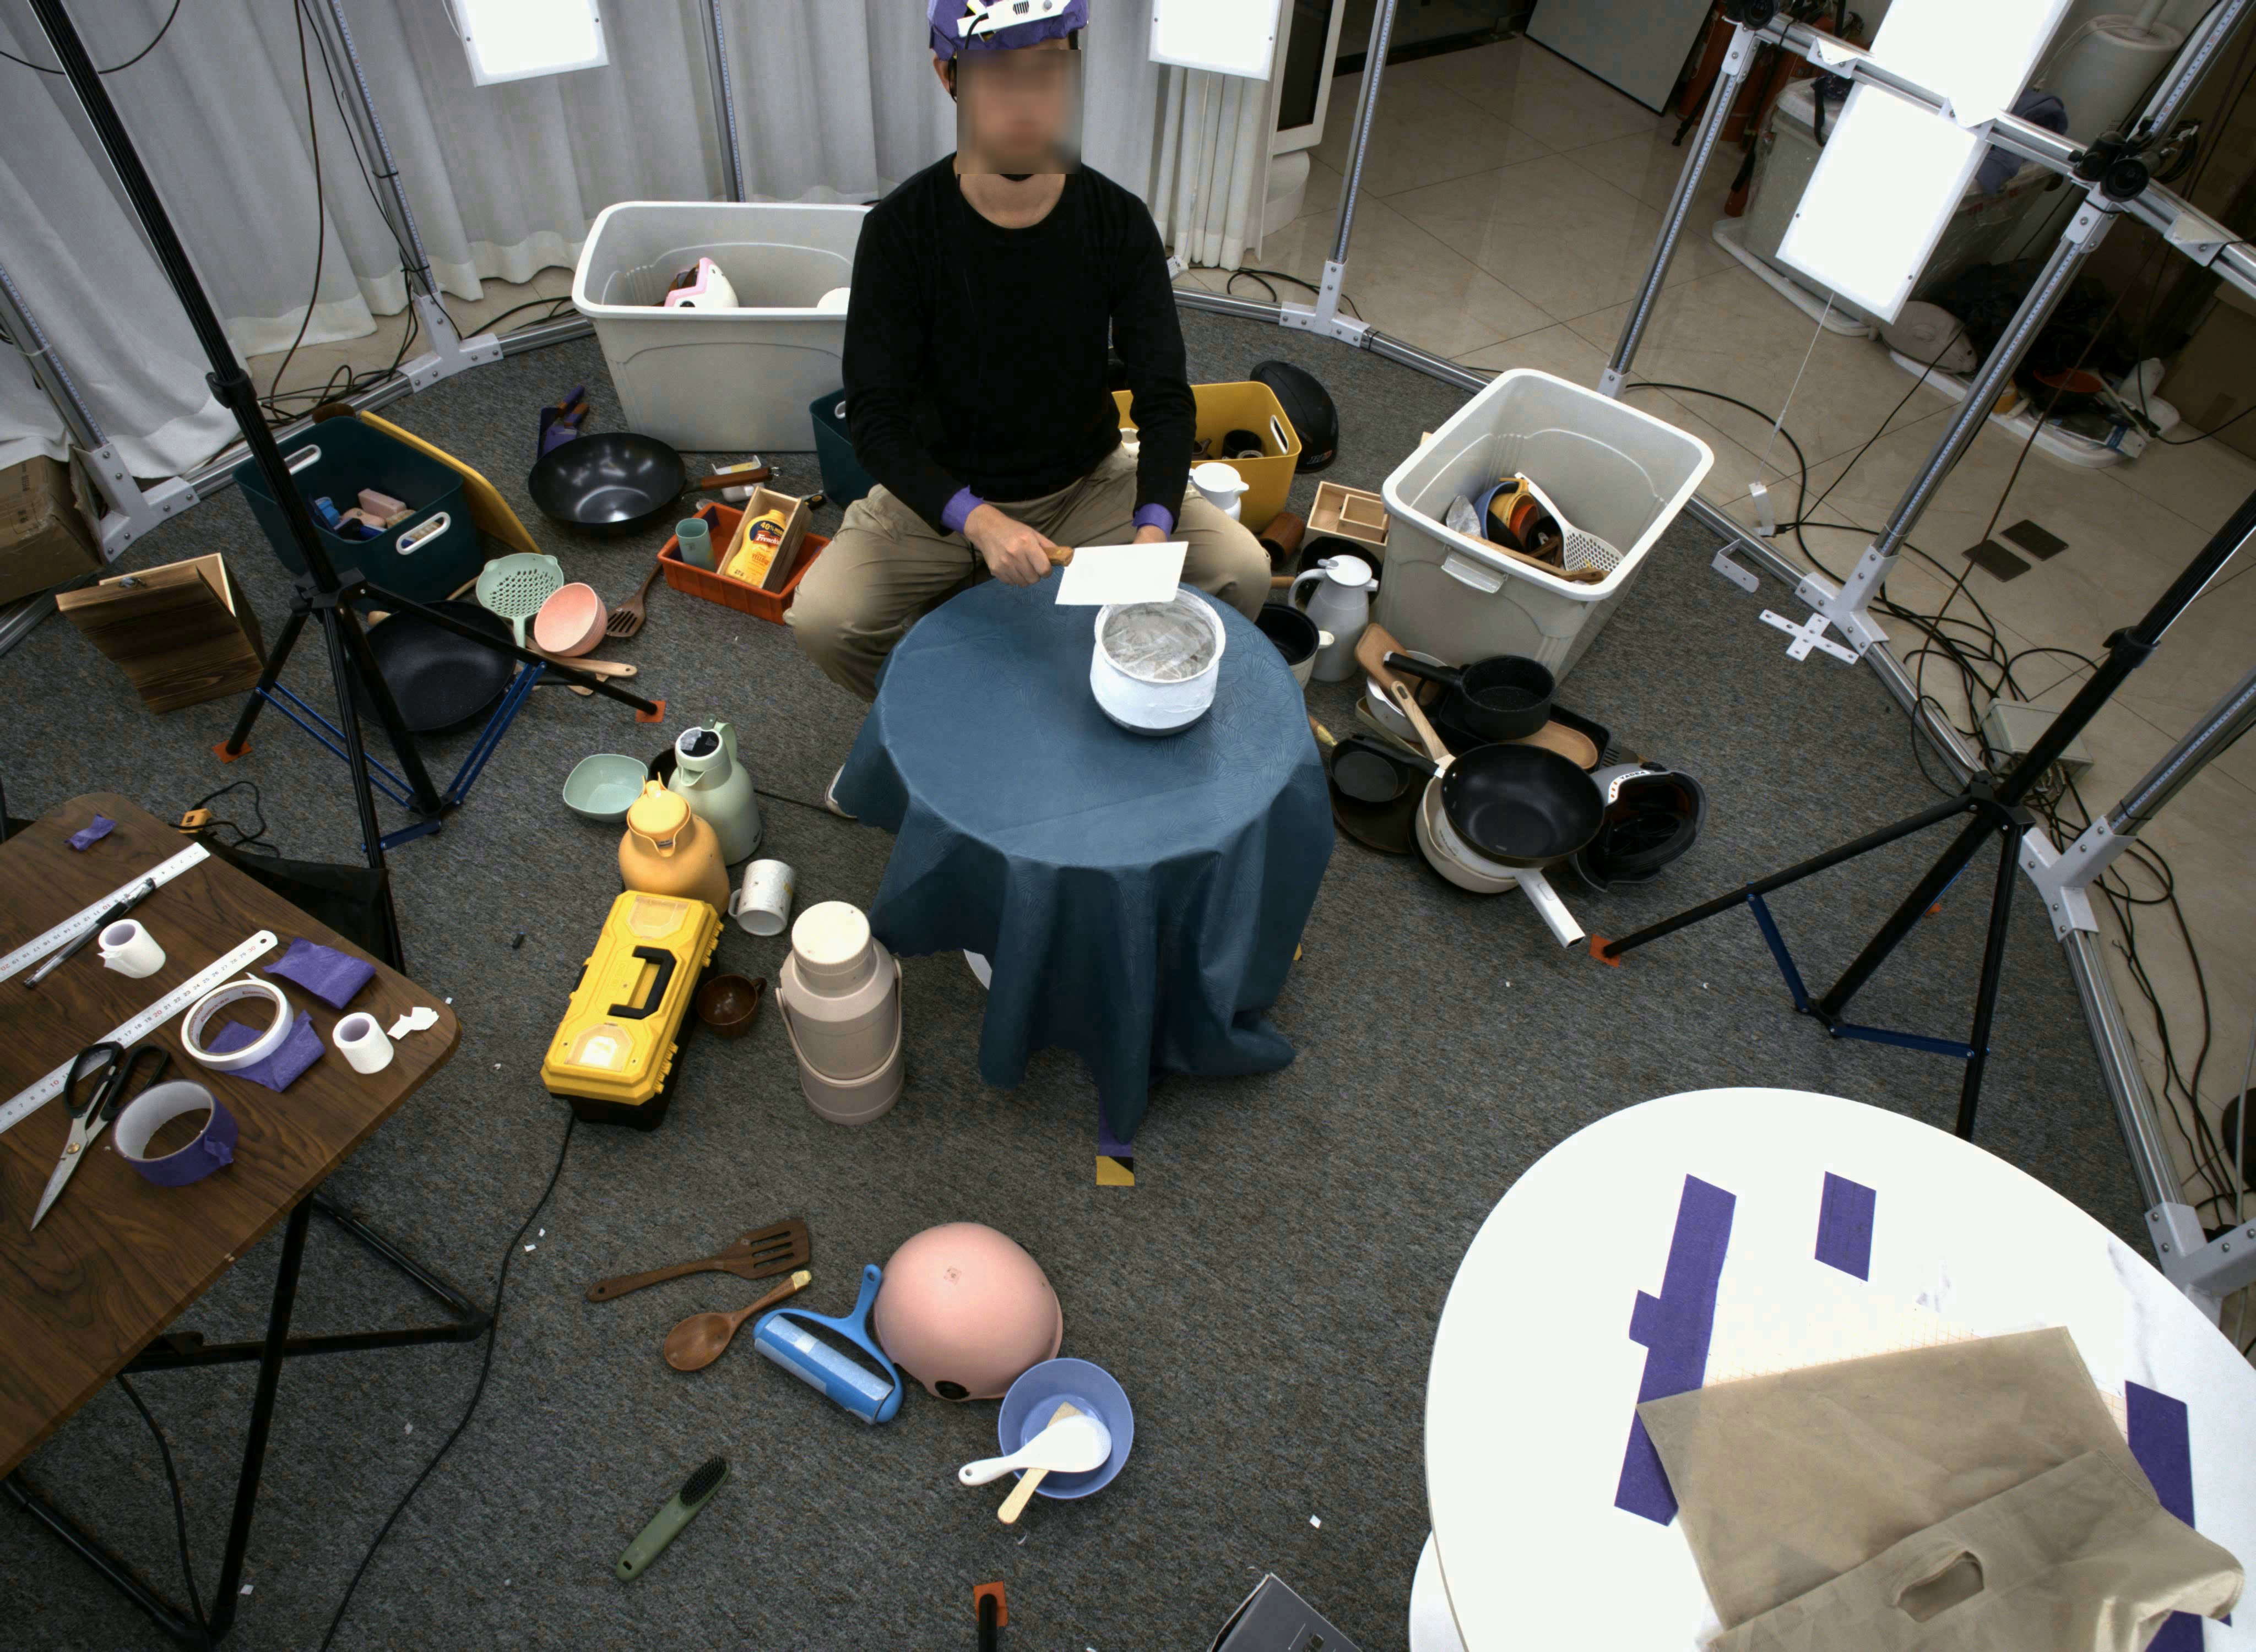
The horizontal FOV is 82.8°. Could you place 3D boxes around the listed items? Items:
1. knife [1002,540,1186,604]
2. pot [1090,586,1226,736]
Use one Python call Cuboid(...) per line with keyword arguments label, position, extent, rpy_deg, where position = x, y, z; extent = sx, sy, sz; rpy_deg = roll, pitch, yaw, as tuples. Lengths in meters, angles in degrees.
Cuboid(label="knife", position=(-0.057, -0.350, 1.786), extent=(0.307, 0.020, 0.094), rpy_deg=(4, 67, 33))
Cuboid(label="pot", position=(0.032, -0.247, 1.786), extent=(0.178, 0.133, 0.239), rpy_deg=(-7, 56, -11))
